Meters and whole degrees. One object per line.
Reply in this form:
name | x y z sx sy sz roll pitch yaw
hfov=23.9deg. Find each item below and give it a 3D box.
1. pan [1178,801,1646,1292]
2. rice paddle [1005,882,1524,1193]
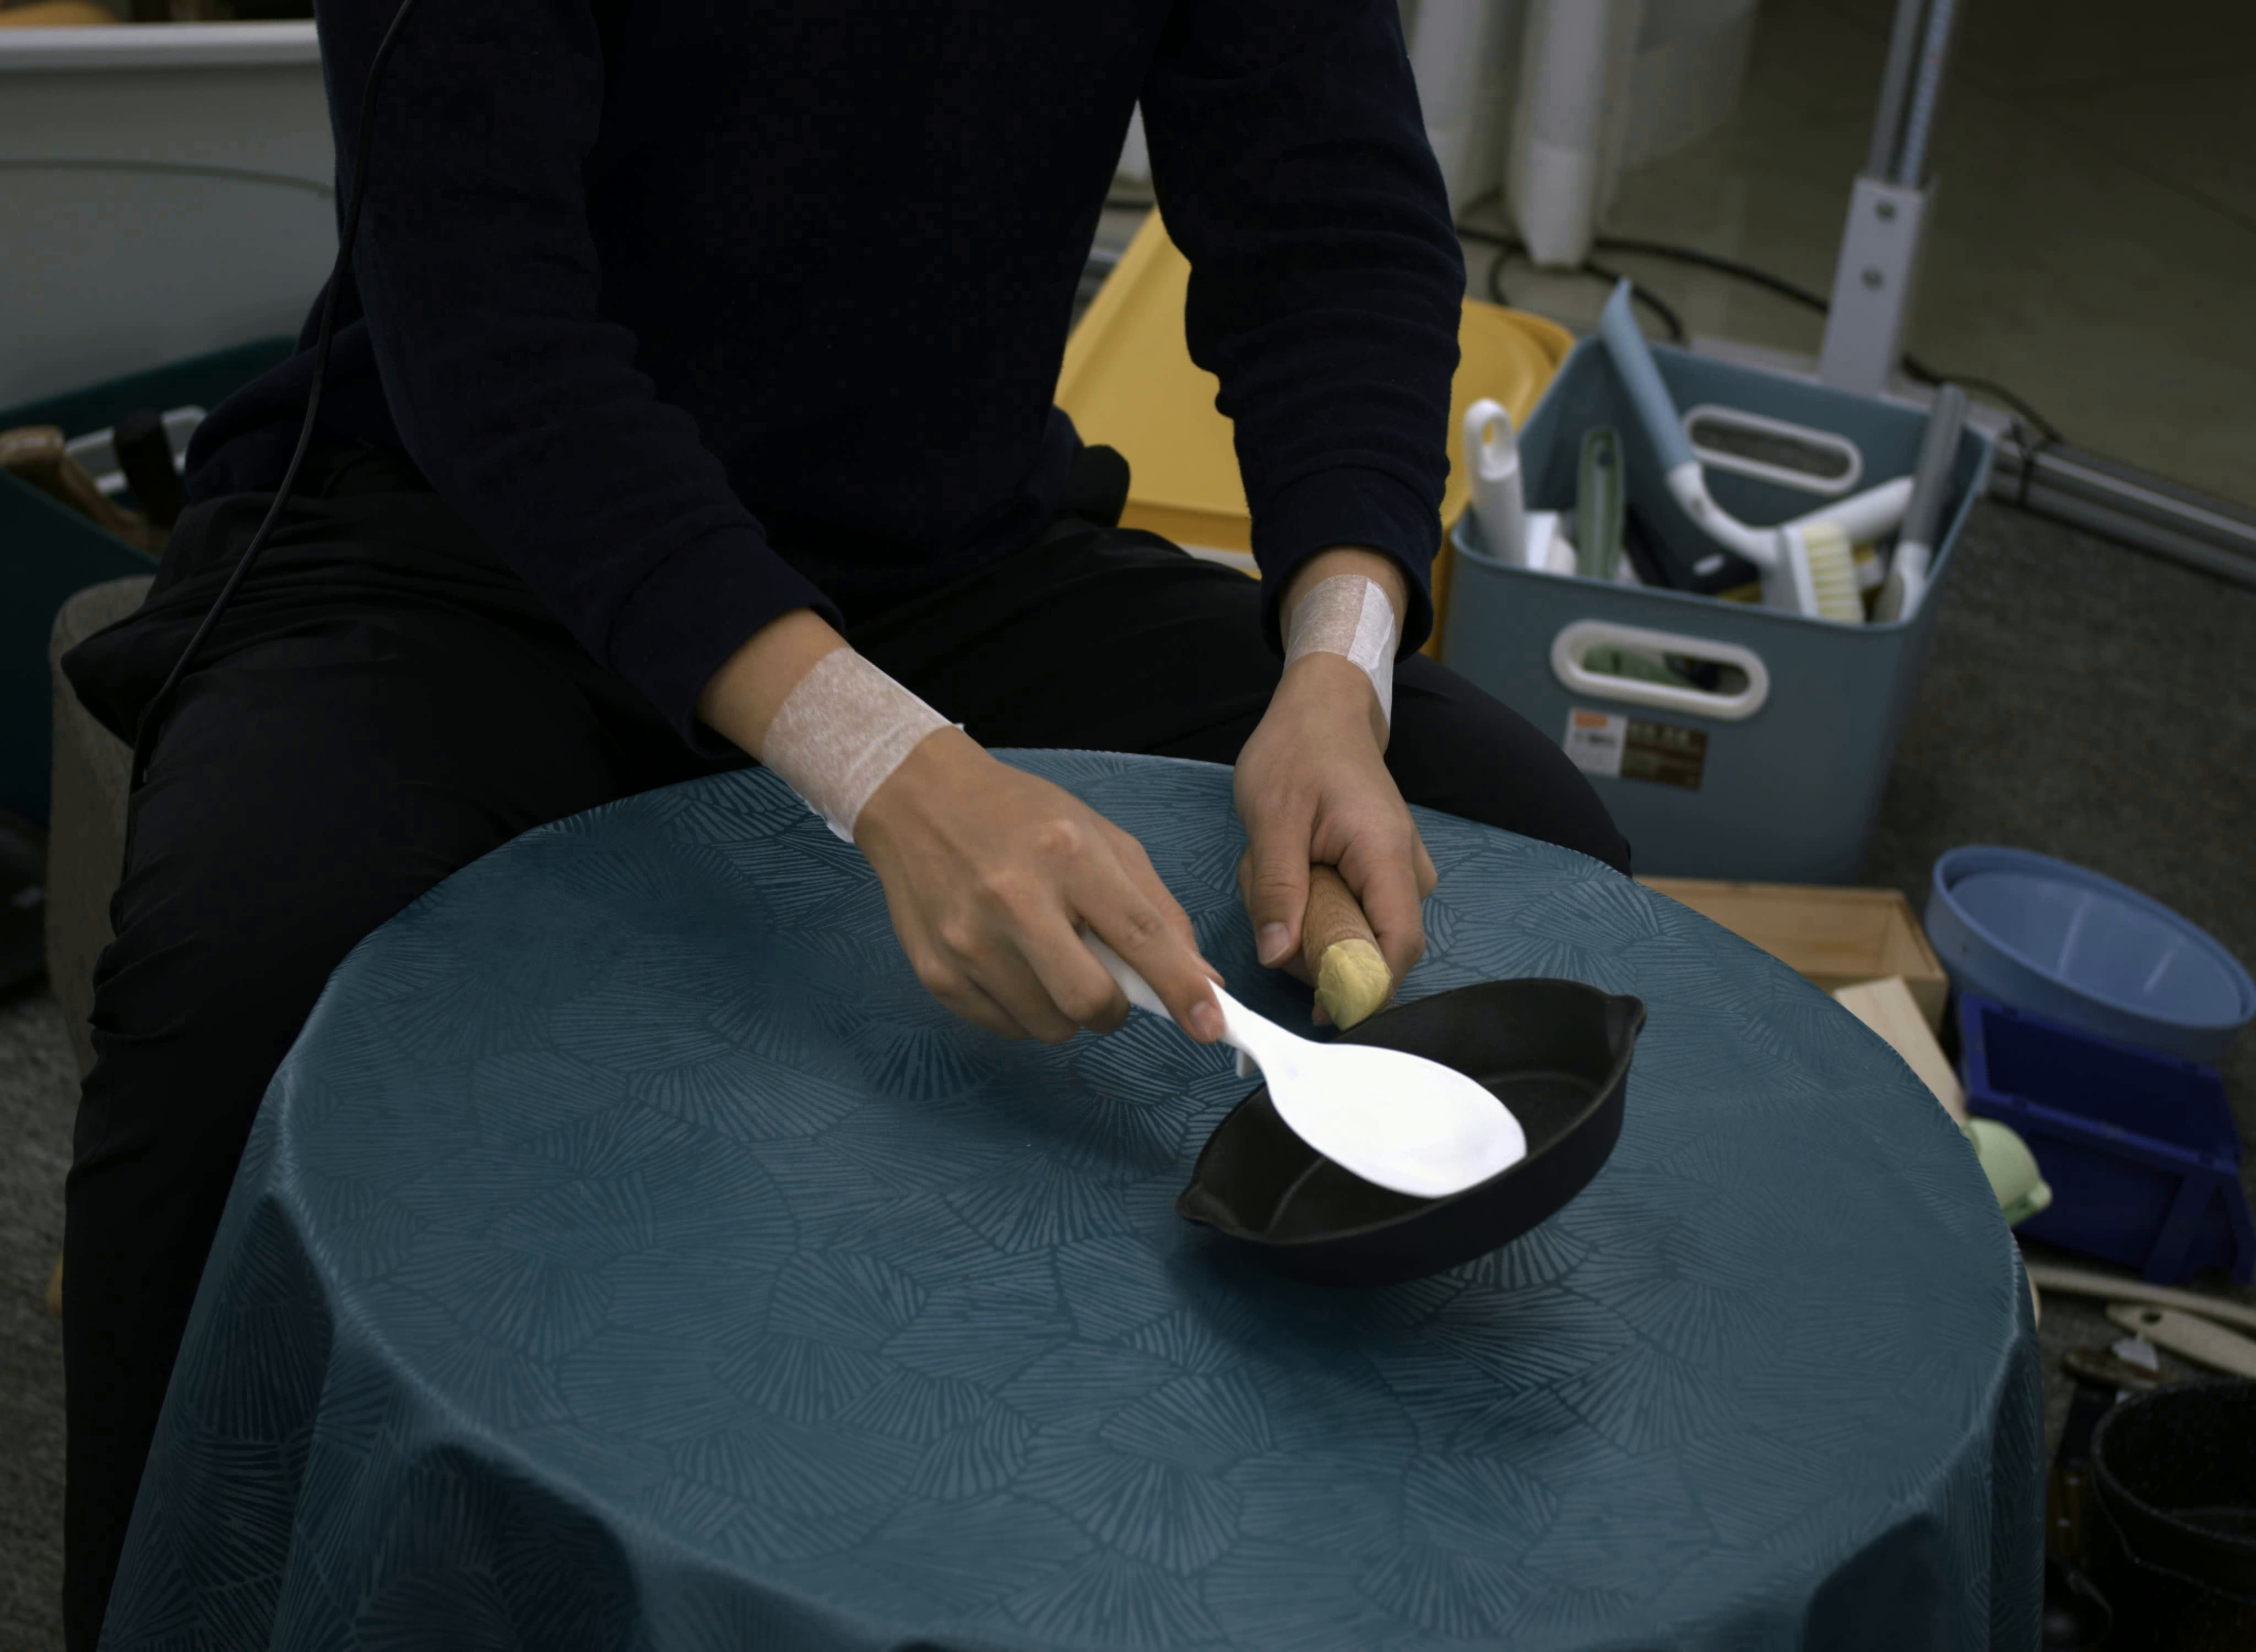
pan | 0.087 0.069 1.841 0.168 0.049 0.326 -23 22 3
rice paddle | 0.046 0.072 1.795 0.206 0.029 0.068 27 41 30
